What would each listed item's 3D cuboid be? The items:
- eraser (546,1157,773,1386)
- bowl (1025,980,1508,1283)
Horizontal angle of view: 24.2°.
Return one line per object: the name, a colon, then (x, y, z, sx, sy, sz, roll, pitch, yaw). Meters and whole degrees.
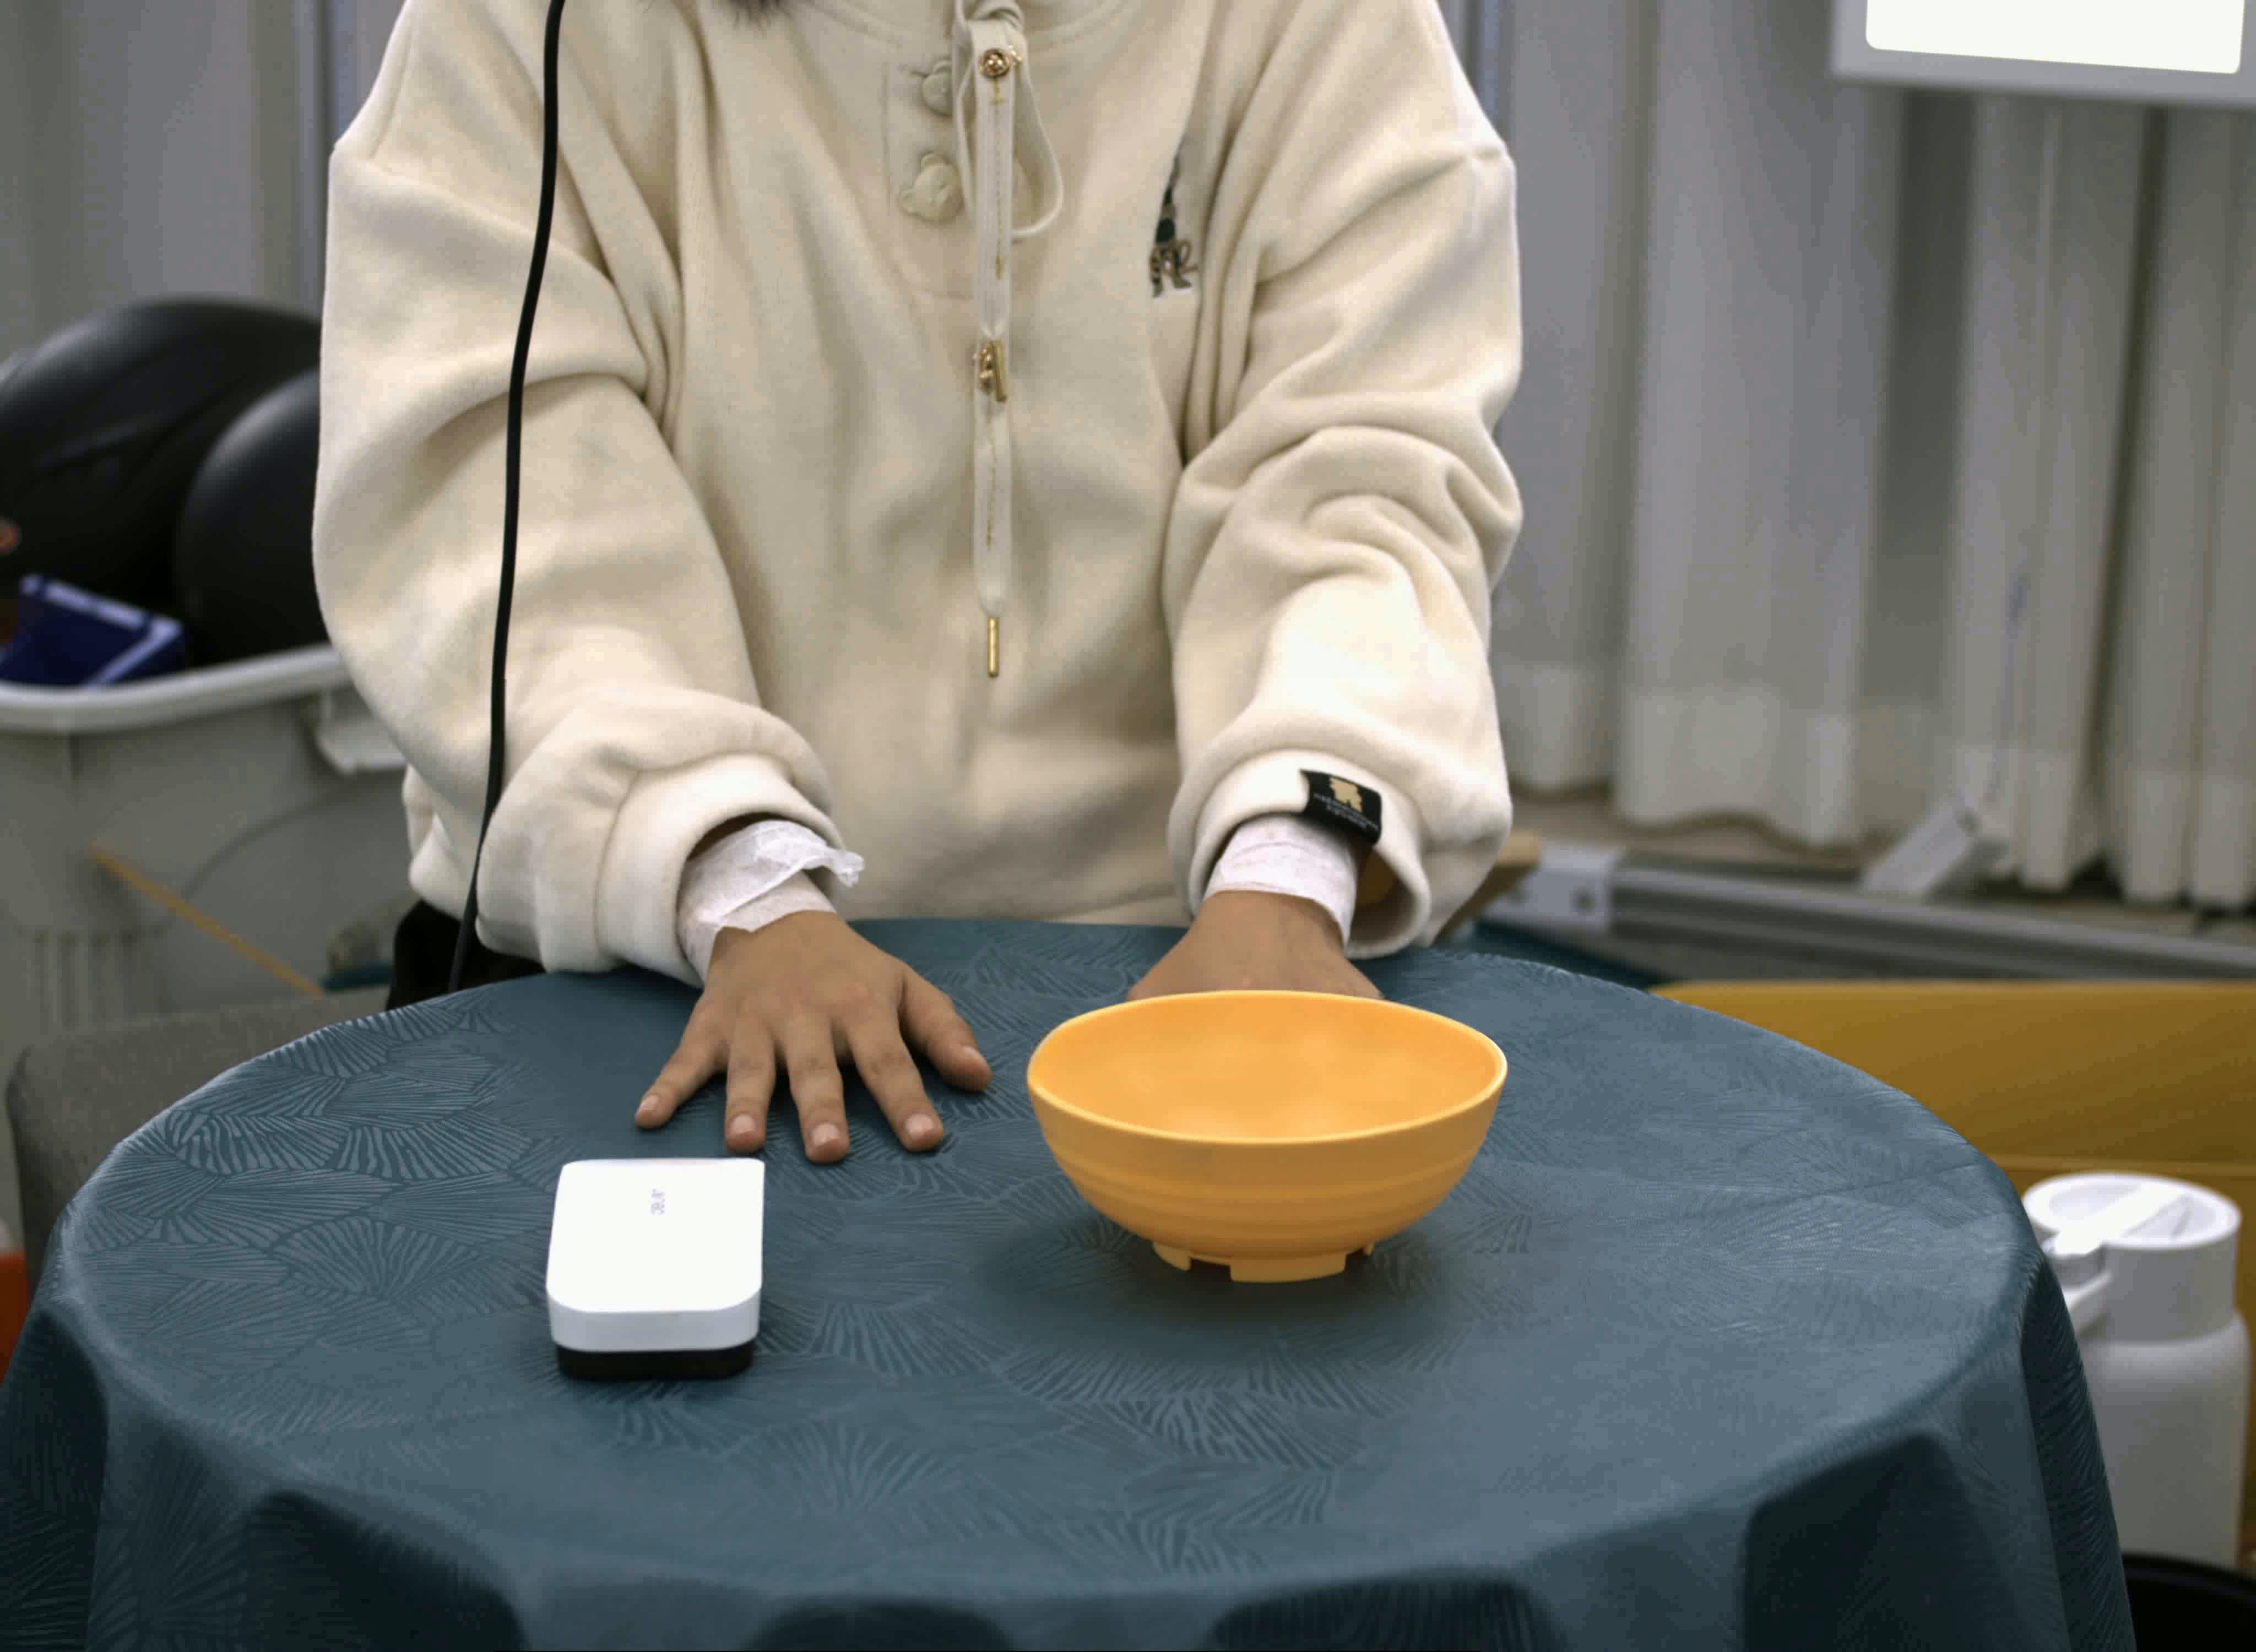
eraser: (-0.134, 0.124, 1.518, 0.063, 0.035, 0.130, 0, 16, -3)
bowl: (0.042, 0.097, 1.569, 0.145, 0.060, 0.144, 0, 18, 1)
